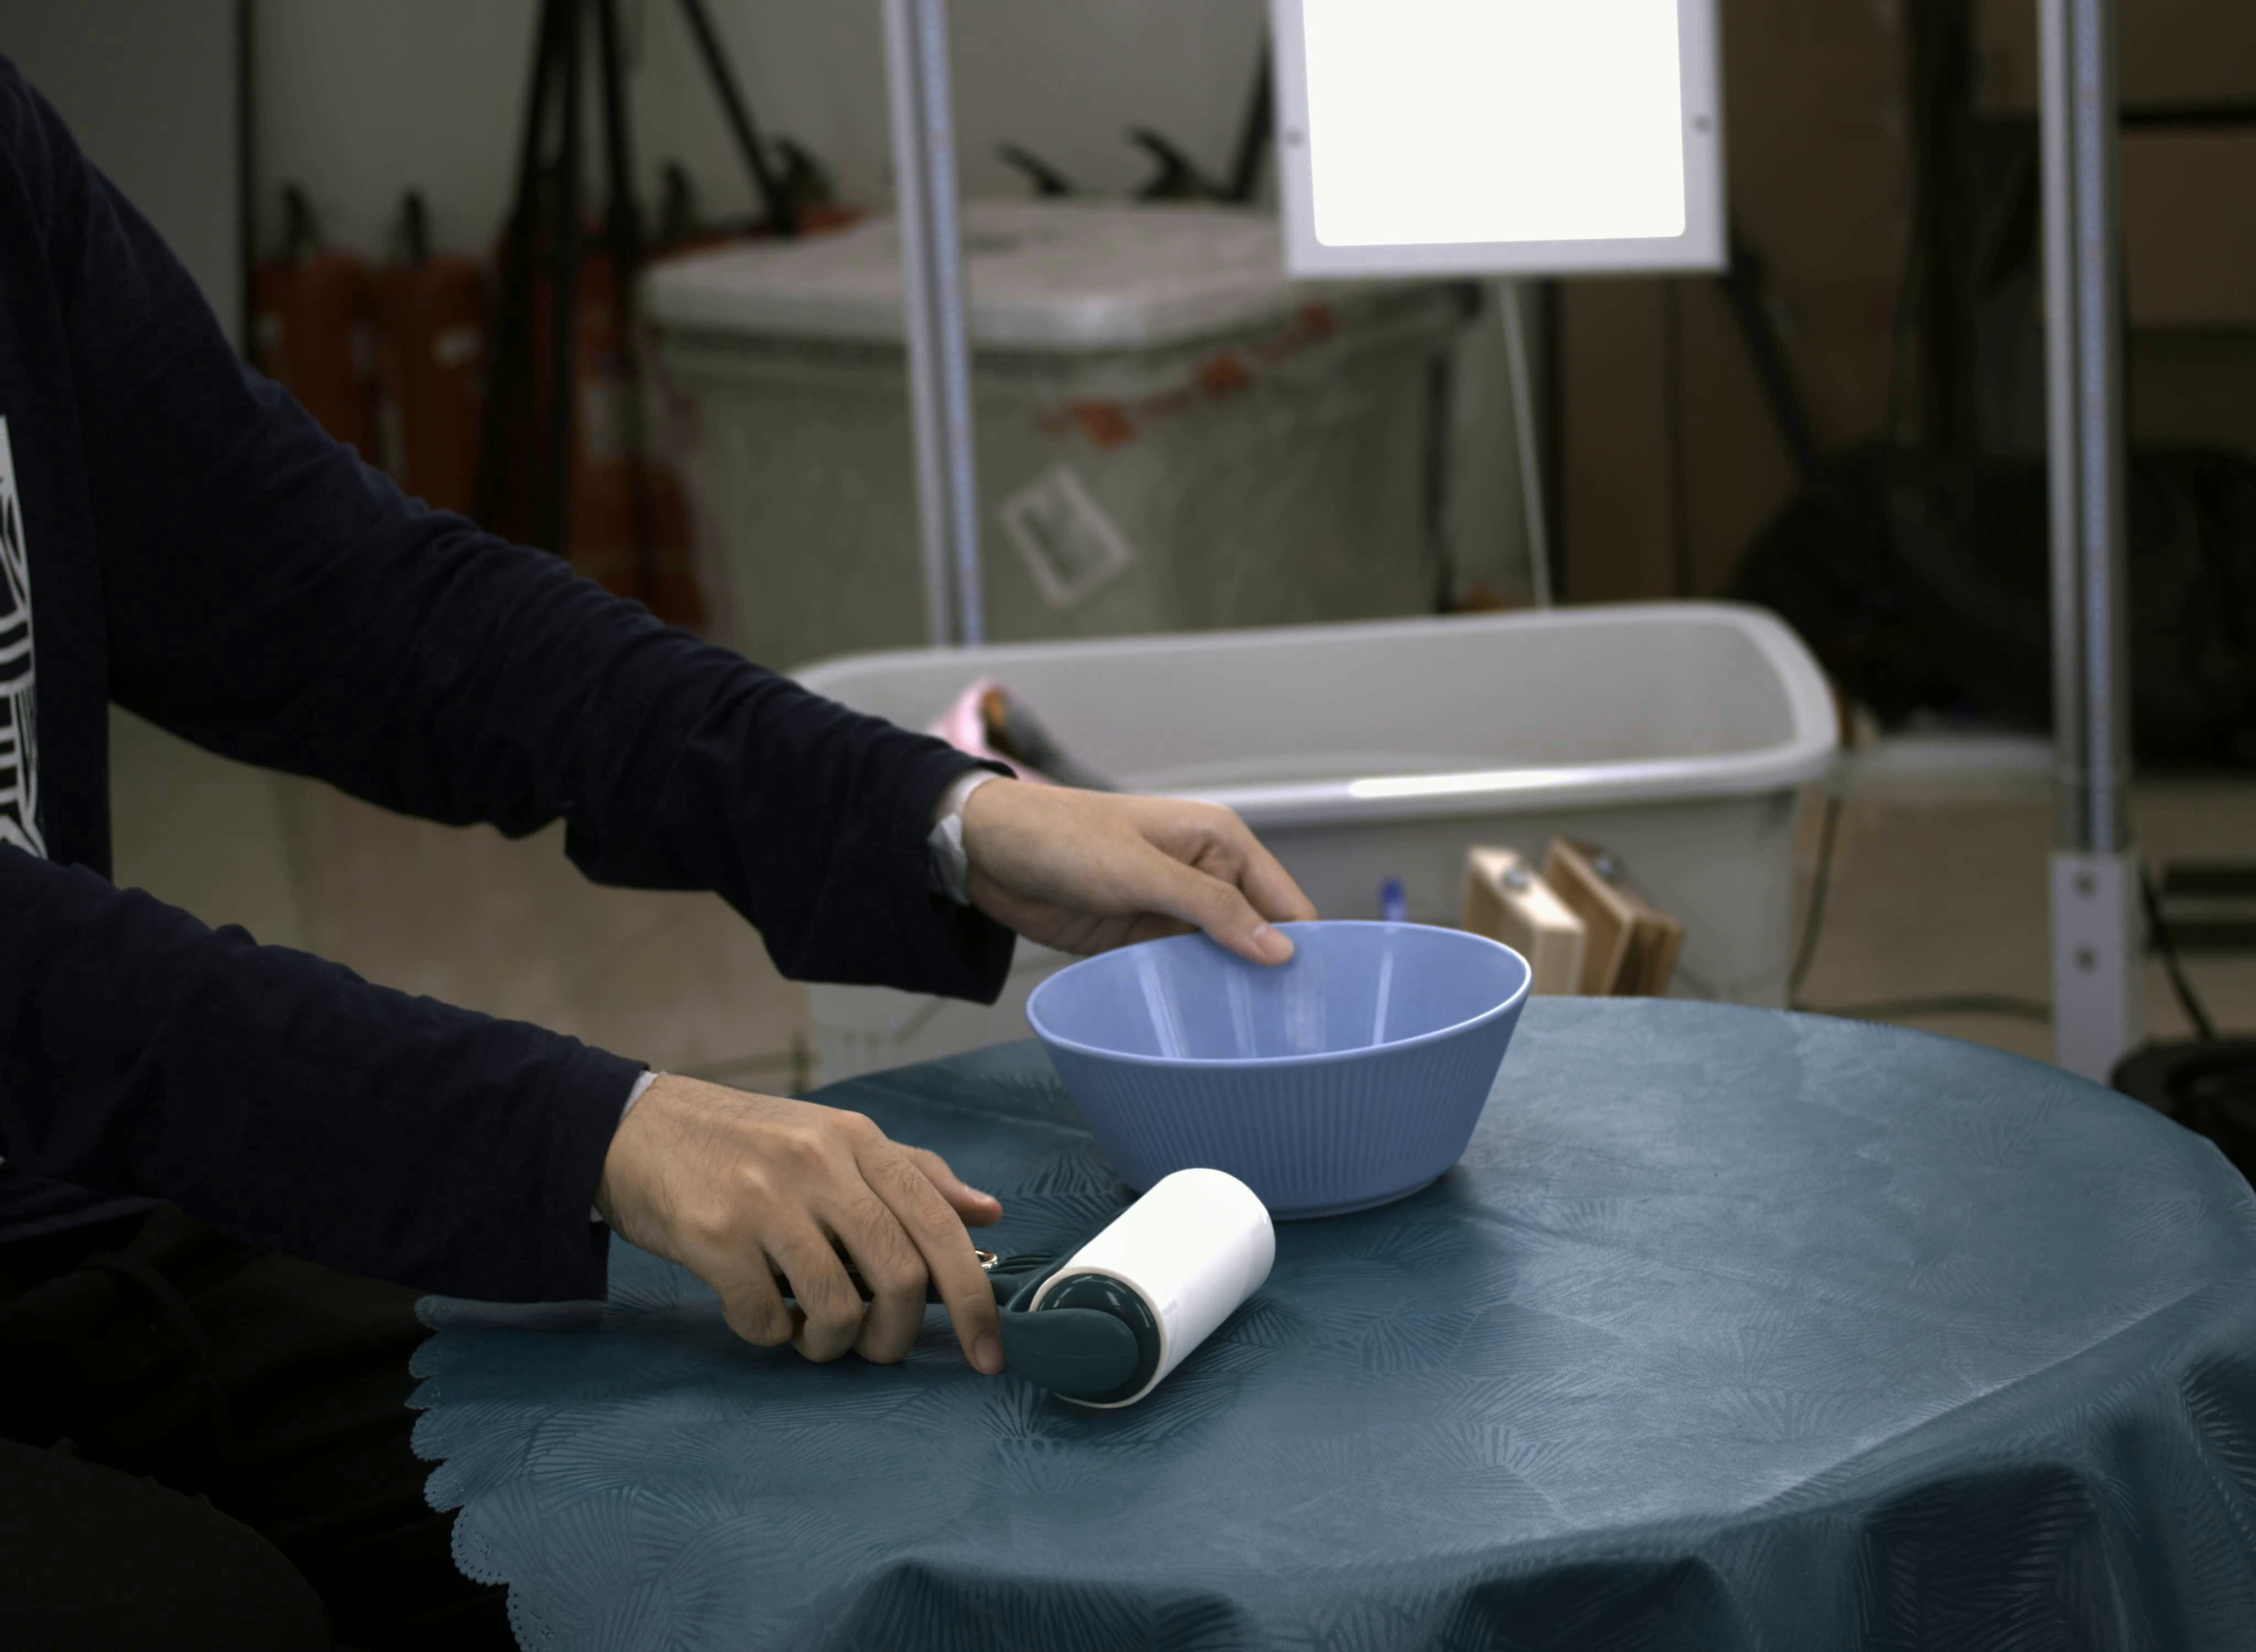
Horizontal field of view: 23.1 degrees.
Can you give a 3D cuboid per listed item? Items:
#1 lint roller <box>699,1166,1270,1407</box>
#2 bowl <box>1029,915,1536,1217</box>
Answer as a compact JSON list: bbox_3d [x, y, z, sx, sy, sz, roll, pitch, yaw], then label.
[{"bbox_3d":[-0.055,0.140,1.753,0.183,0.048,0.132,3,16,22],"label":"lint roller"},{"bbox_3d":[0.056,0.085,1.899,0.175,0.070,0.176,-5,14,0],"label":"bowl"}]
